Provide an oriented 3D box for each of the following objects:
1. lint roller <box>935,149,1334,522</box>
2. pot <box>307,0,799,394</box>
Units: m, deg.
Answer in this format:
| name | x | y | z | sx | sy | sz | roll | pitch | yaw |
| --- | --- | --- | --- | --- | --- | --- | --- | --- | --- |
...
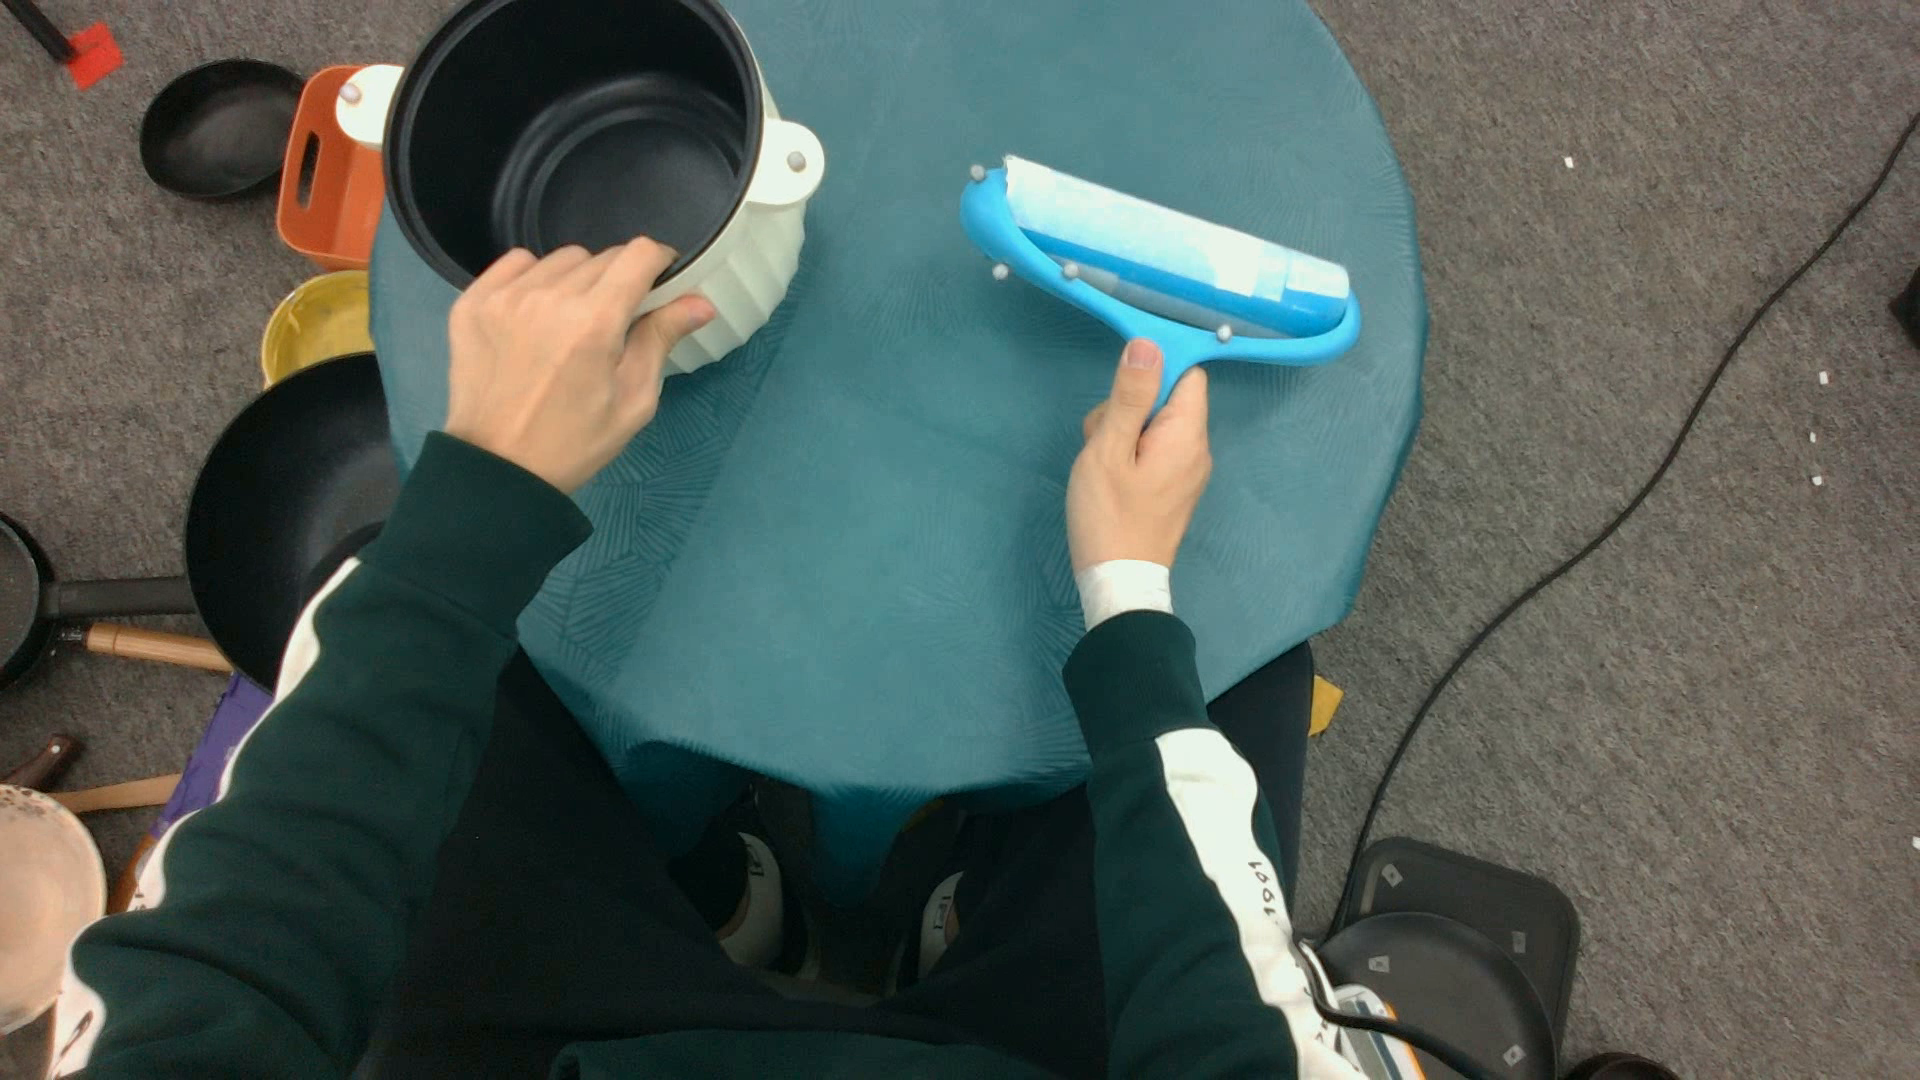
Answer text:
| name | x | y | z | sx | sy | sz | roll | pitch | yaw |
| --- | --- | --- | --- | --- | --- | --- | --- | --- | --- |
| lint roller | 0.089 | -0.101 | 0.730 | 0.229 | 0.067 | 0.180 | 12 | 76 | -15 |
| pot | -0.185 | -0.182 | 0.700 | 0.240 | 0.142 | 0.191 | 8 | 82 | 6 |
